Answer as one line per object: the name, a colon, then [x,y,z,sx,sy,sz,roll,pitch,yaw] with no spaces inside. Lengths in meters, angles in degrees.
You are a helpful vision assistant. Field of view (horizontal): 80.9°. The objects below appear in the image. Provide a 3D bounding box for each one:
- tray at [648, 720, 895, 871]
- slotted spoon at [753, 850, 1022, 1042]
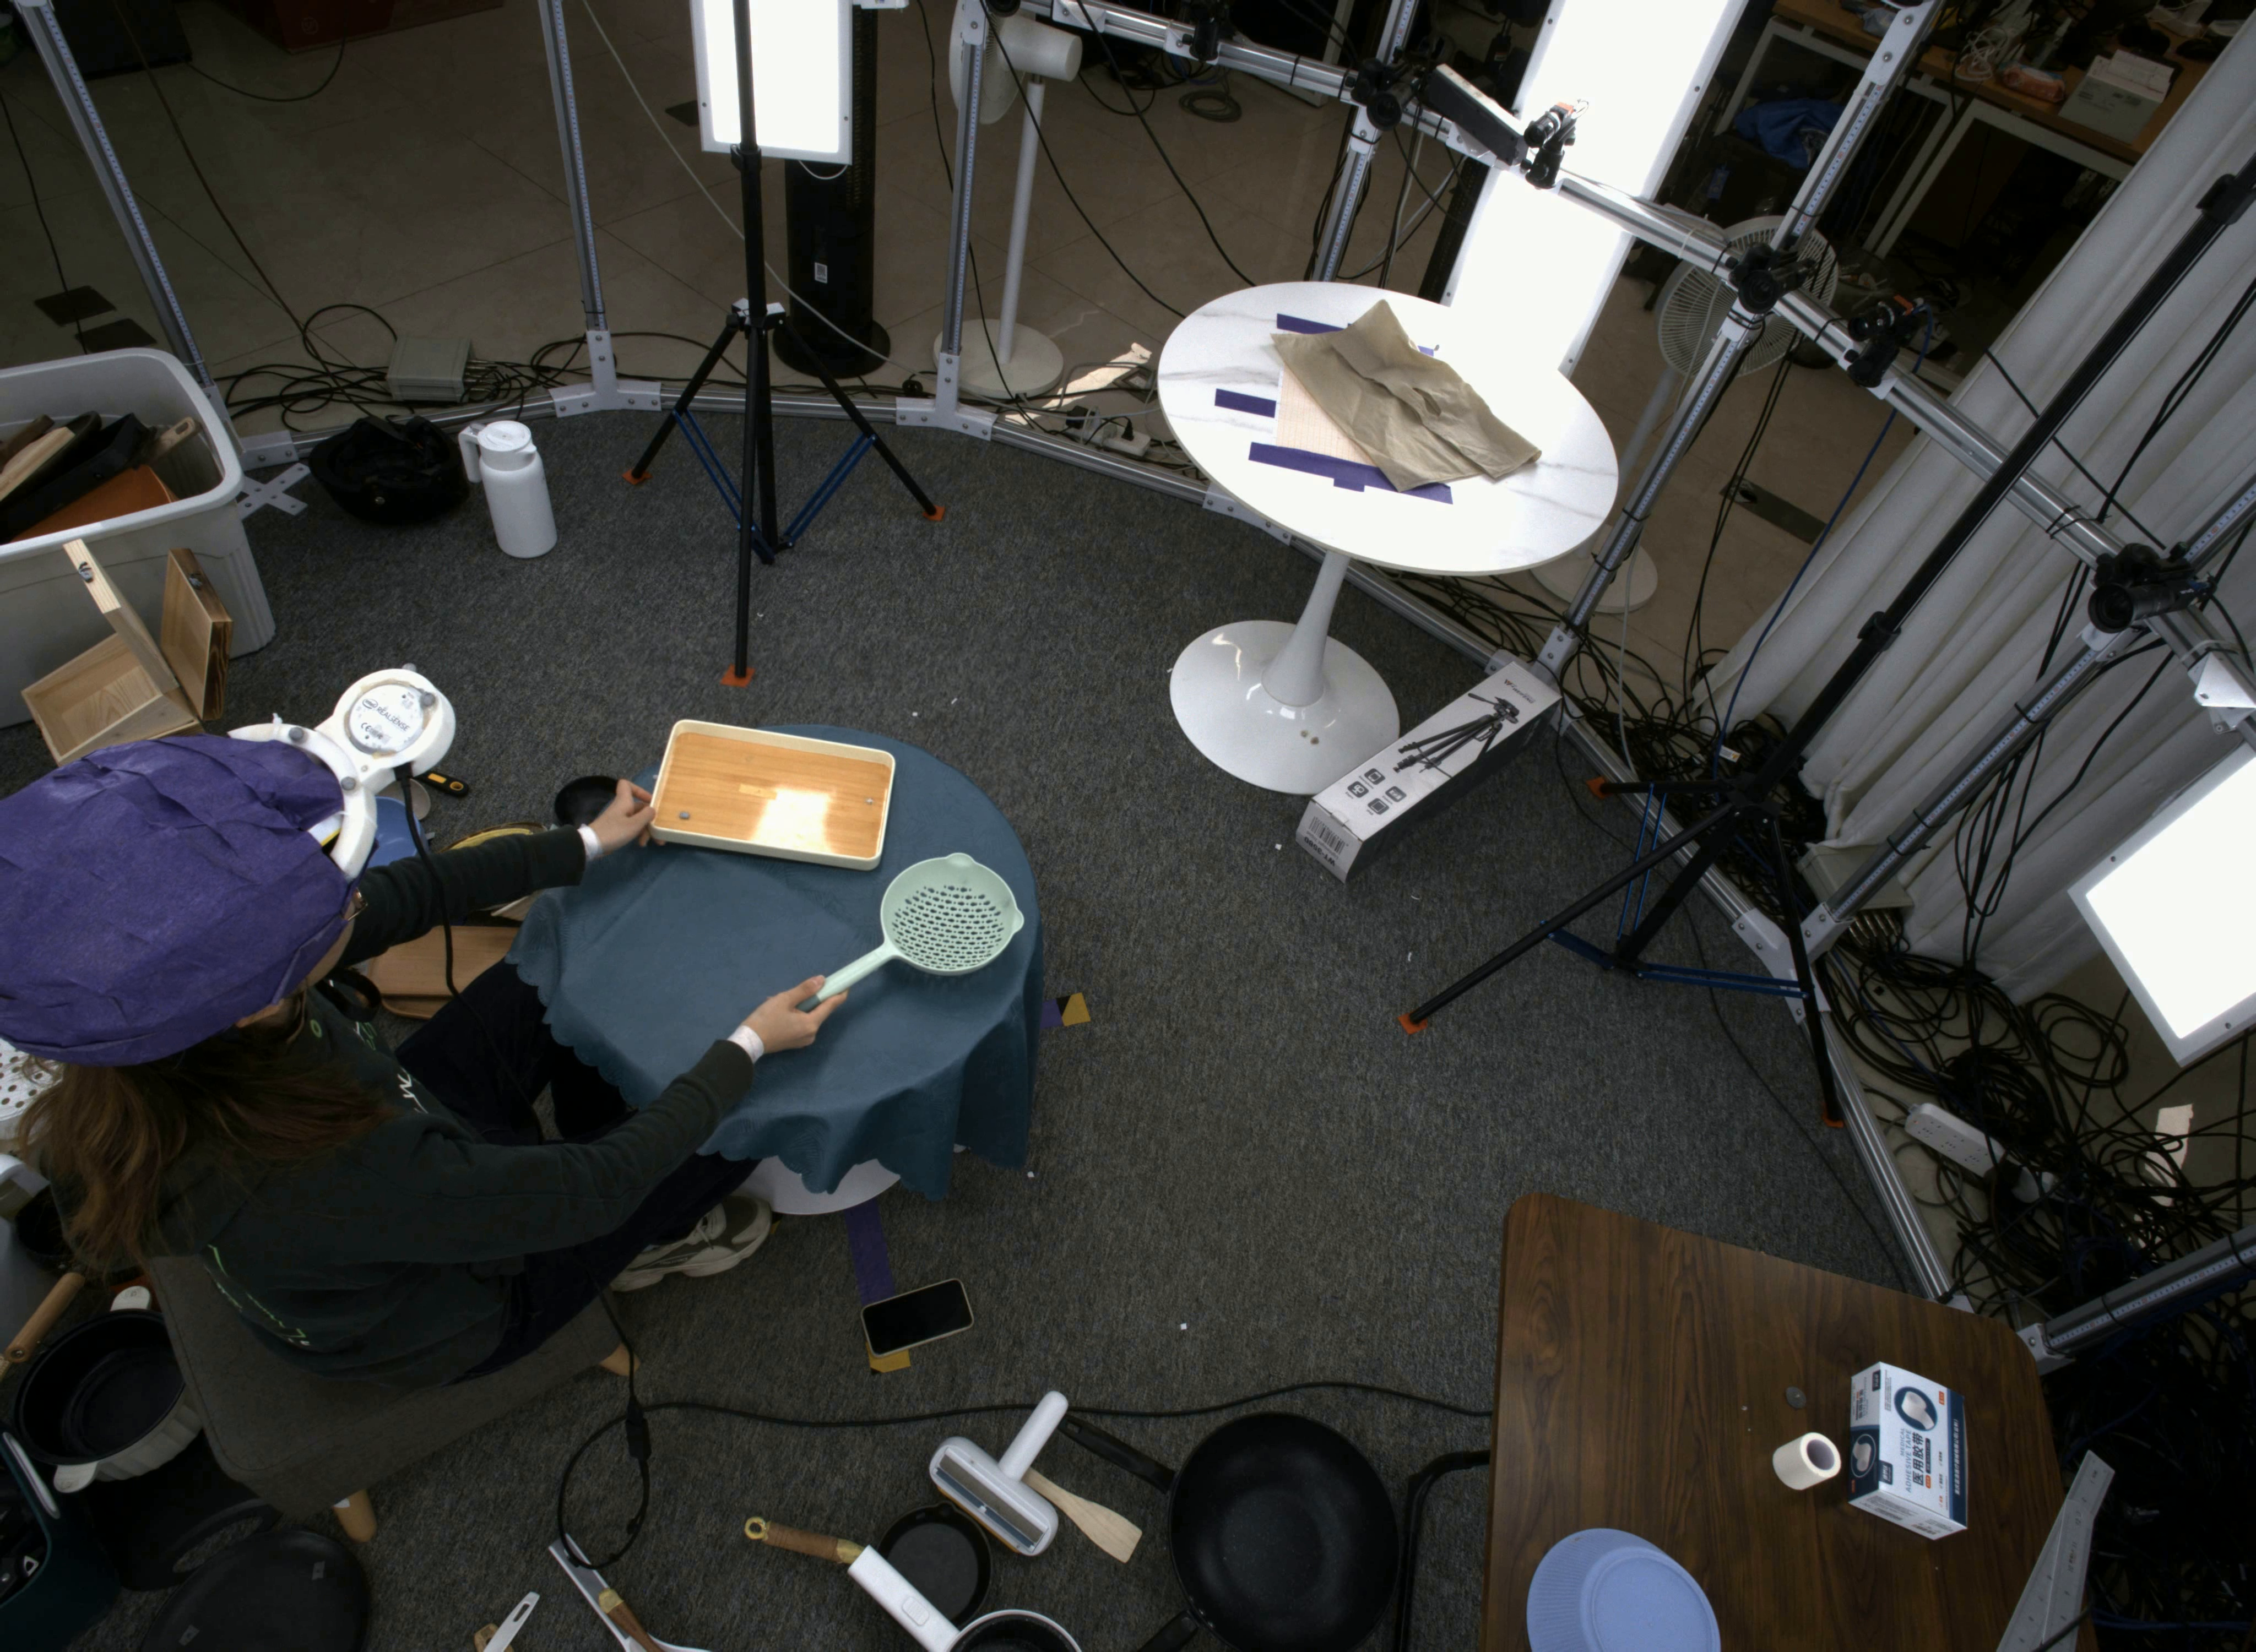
tray: [-0.469,-0.042,1.719,0.301,0.028,0.188,9,52,-13]
slotted spoon: [-0.298,0.156,1.590,0.361,0.077,0.165,-27,63,-37]
